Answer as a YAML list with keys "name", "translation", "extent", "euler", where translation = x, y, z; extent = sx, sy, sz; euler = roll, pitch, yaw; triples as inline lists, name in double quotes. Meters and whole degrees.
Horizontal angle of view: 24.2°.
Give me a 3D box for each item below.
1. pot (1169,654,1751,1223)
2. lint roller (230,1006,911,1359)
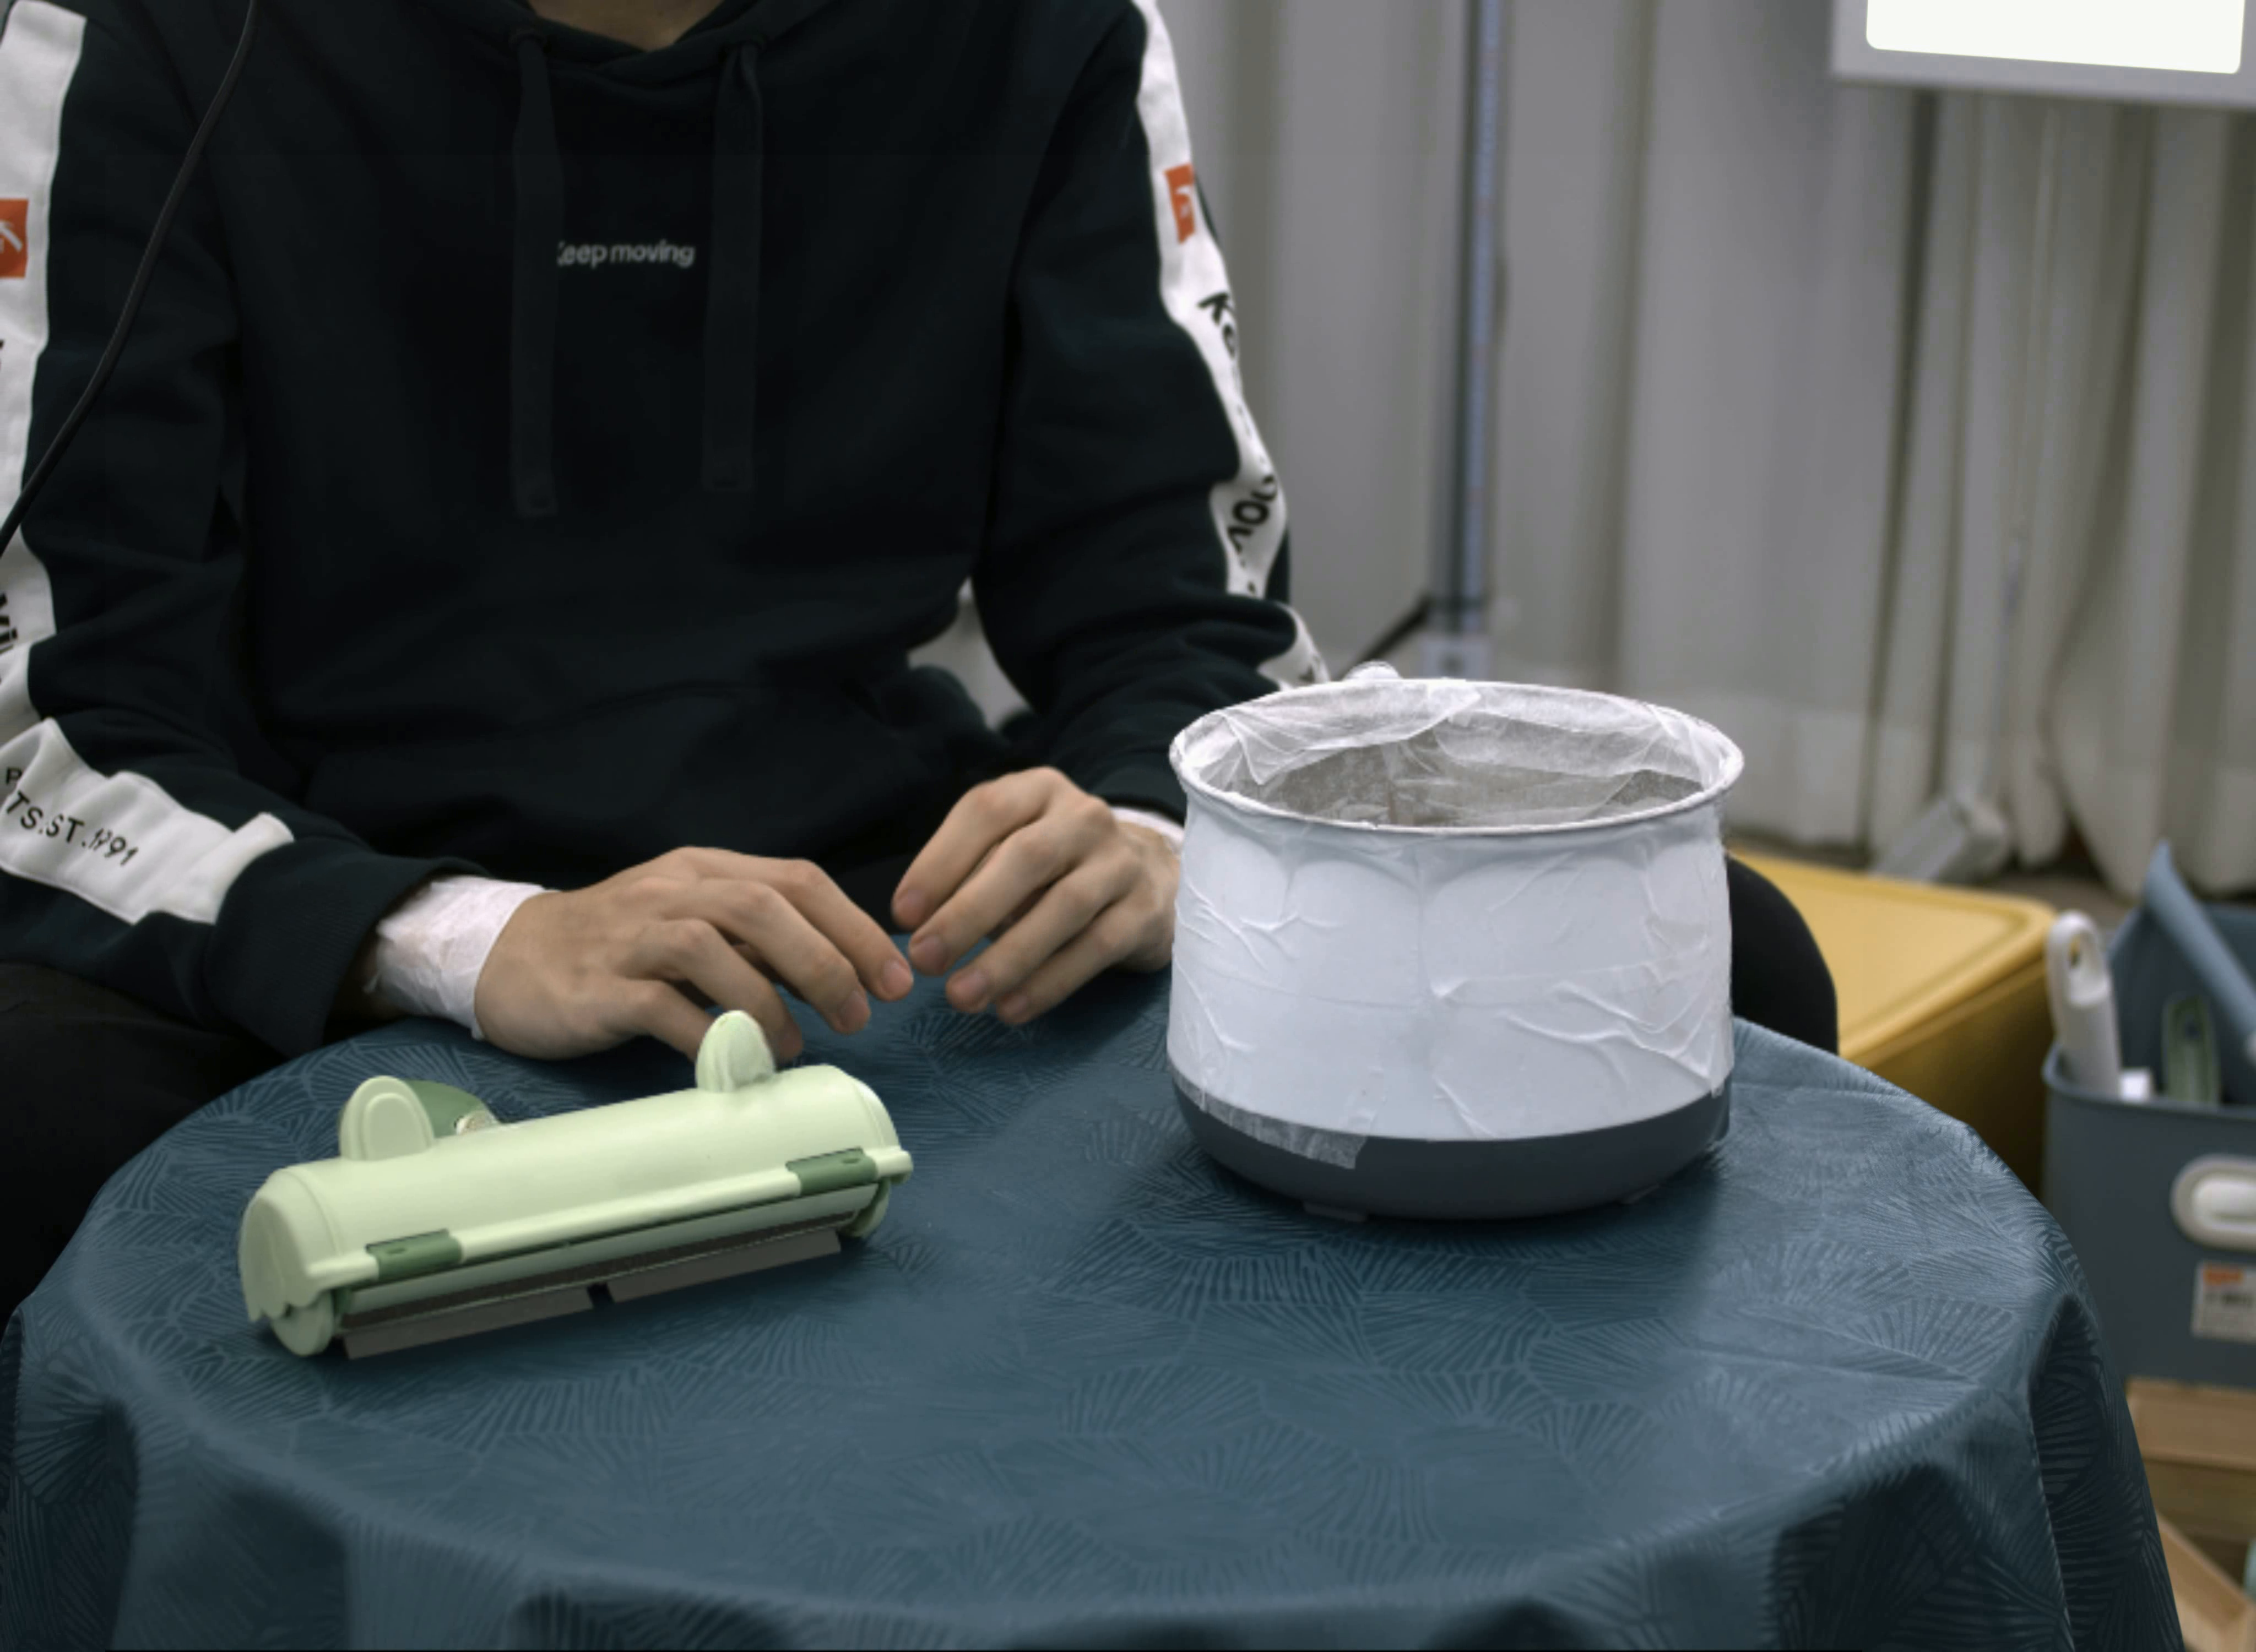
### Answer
- name: "pot"
  translation: [0.095, 0.030, 1.658]
  extent: [0.179, 0.138, 0.231]
  euler: [-3, 17, -13]
- name: "lint roller"
  translation: [-0.190, 0.087, 1.565]
  extent: [0.199, 0.083, 0.181]
  euler: [-10, 24, -32]
